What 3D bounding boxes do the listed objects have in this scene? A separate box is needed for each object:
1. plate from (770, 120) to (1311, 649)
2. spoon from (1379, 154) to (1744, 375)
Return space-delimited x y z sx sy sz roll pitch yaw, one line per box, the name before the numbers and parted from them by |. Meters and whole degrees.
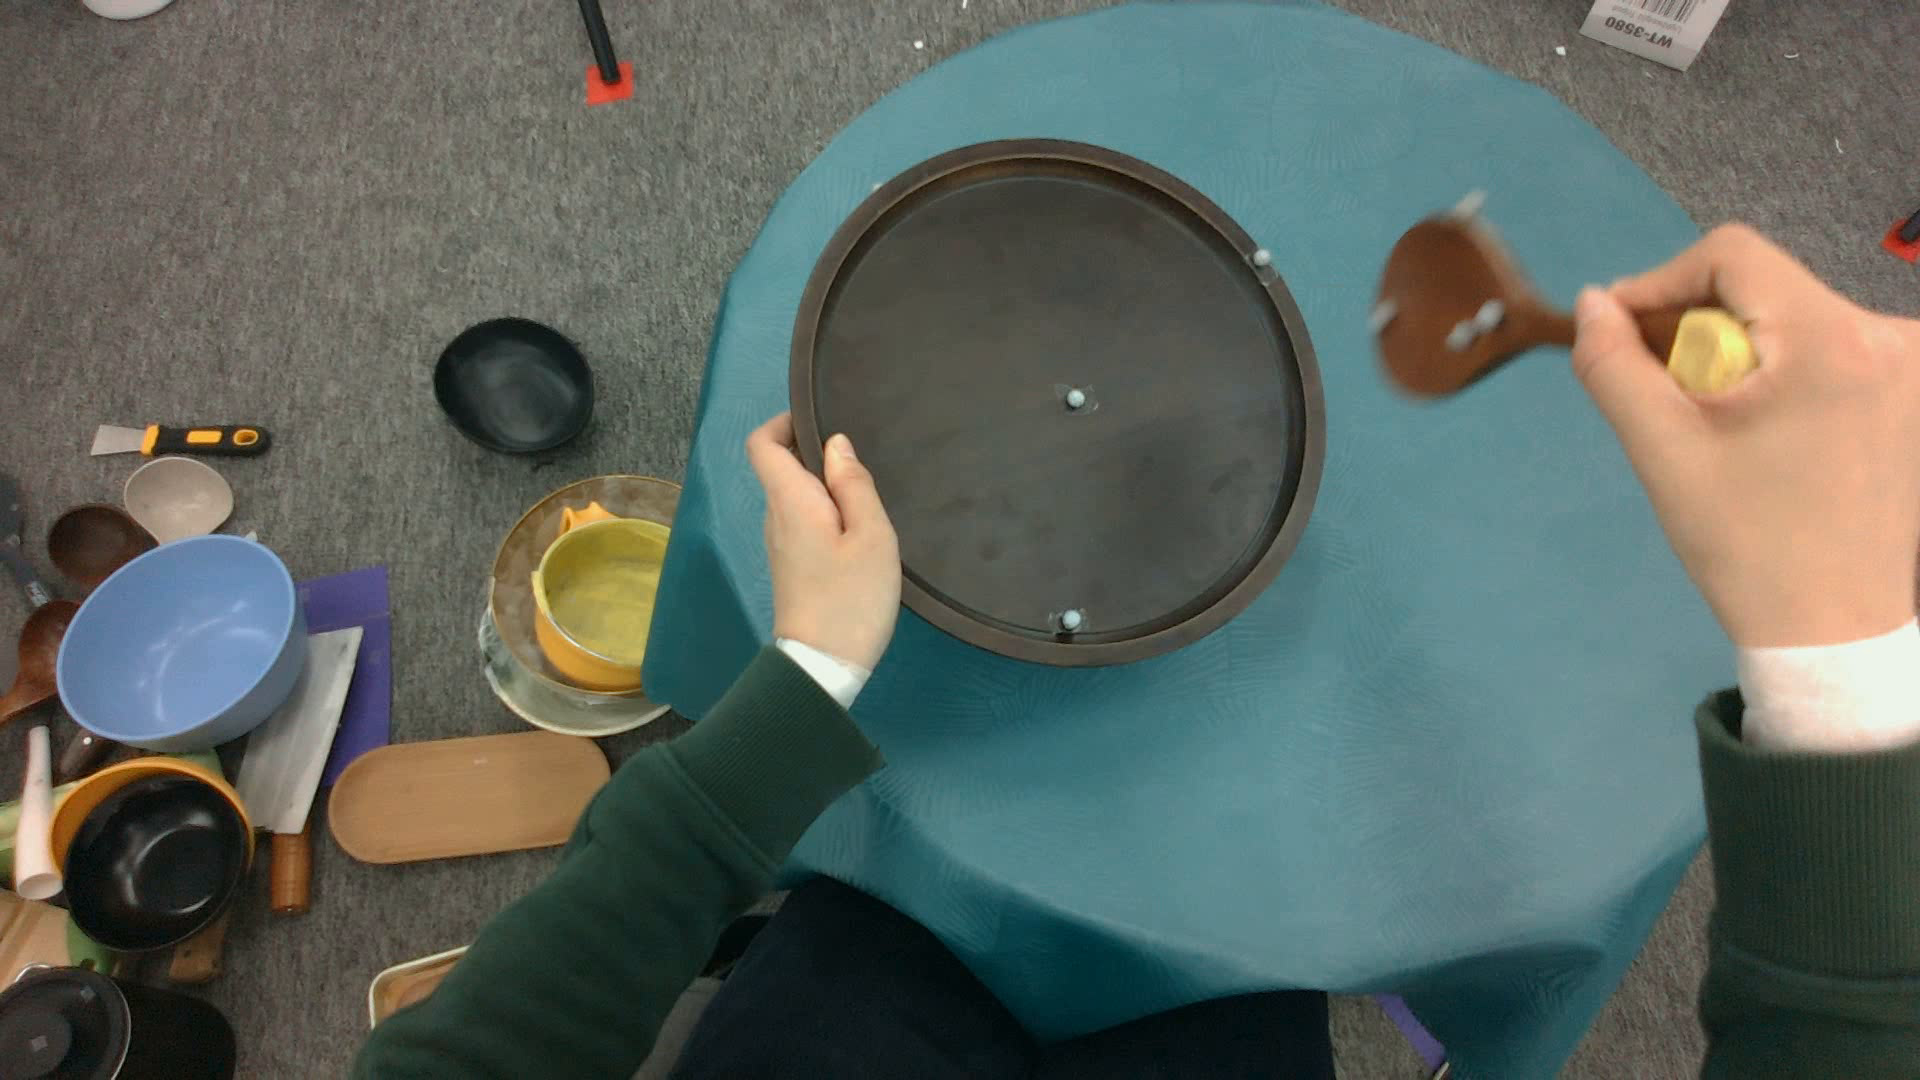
plate | 0.040 -0.074 0.629 0.255 0.029 0.255 4 74 -13
spoon | 0.184 -0.084 0.447 0.017 0.216 0.075 8 107 -7
